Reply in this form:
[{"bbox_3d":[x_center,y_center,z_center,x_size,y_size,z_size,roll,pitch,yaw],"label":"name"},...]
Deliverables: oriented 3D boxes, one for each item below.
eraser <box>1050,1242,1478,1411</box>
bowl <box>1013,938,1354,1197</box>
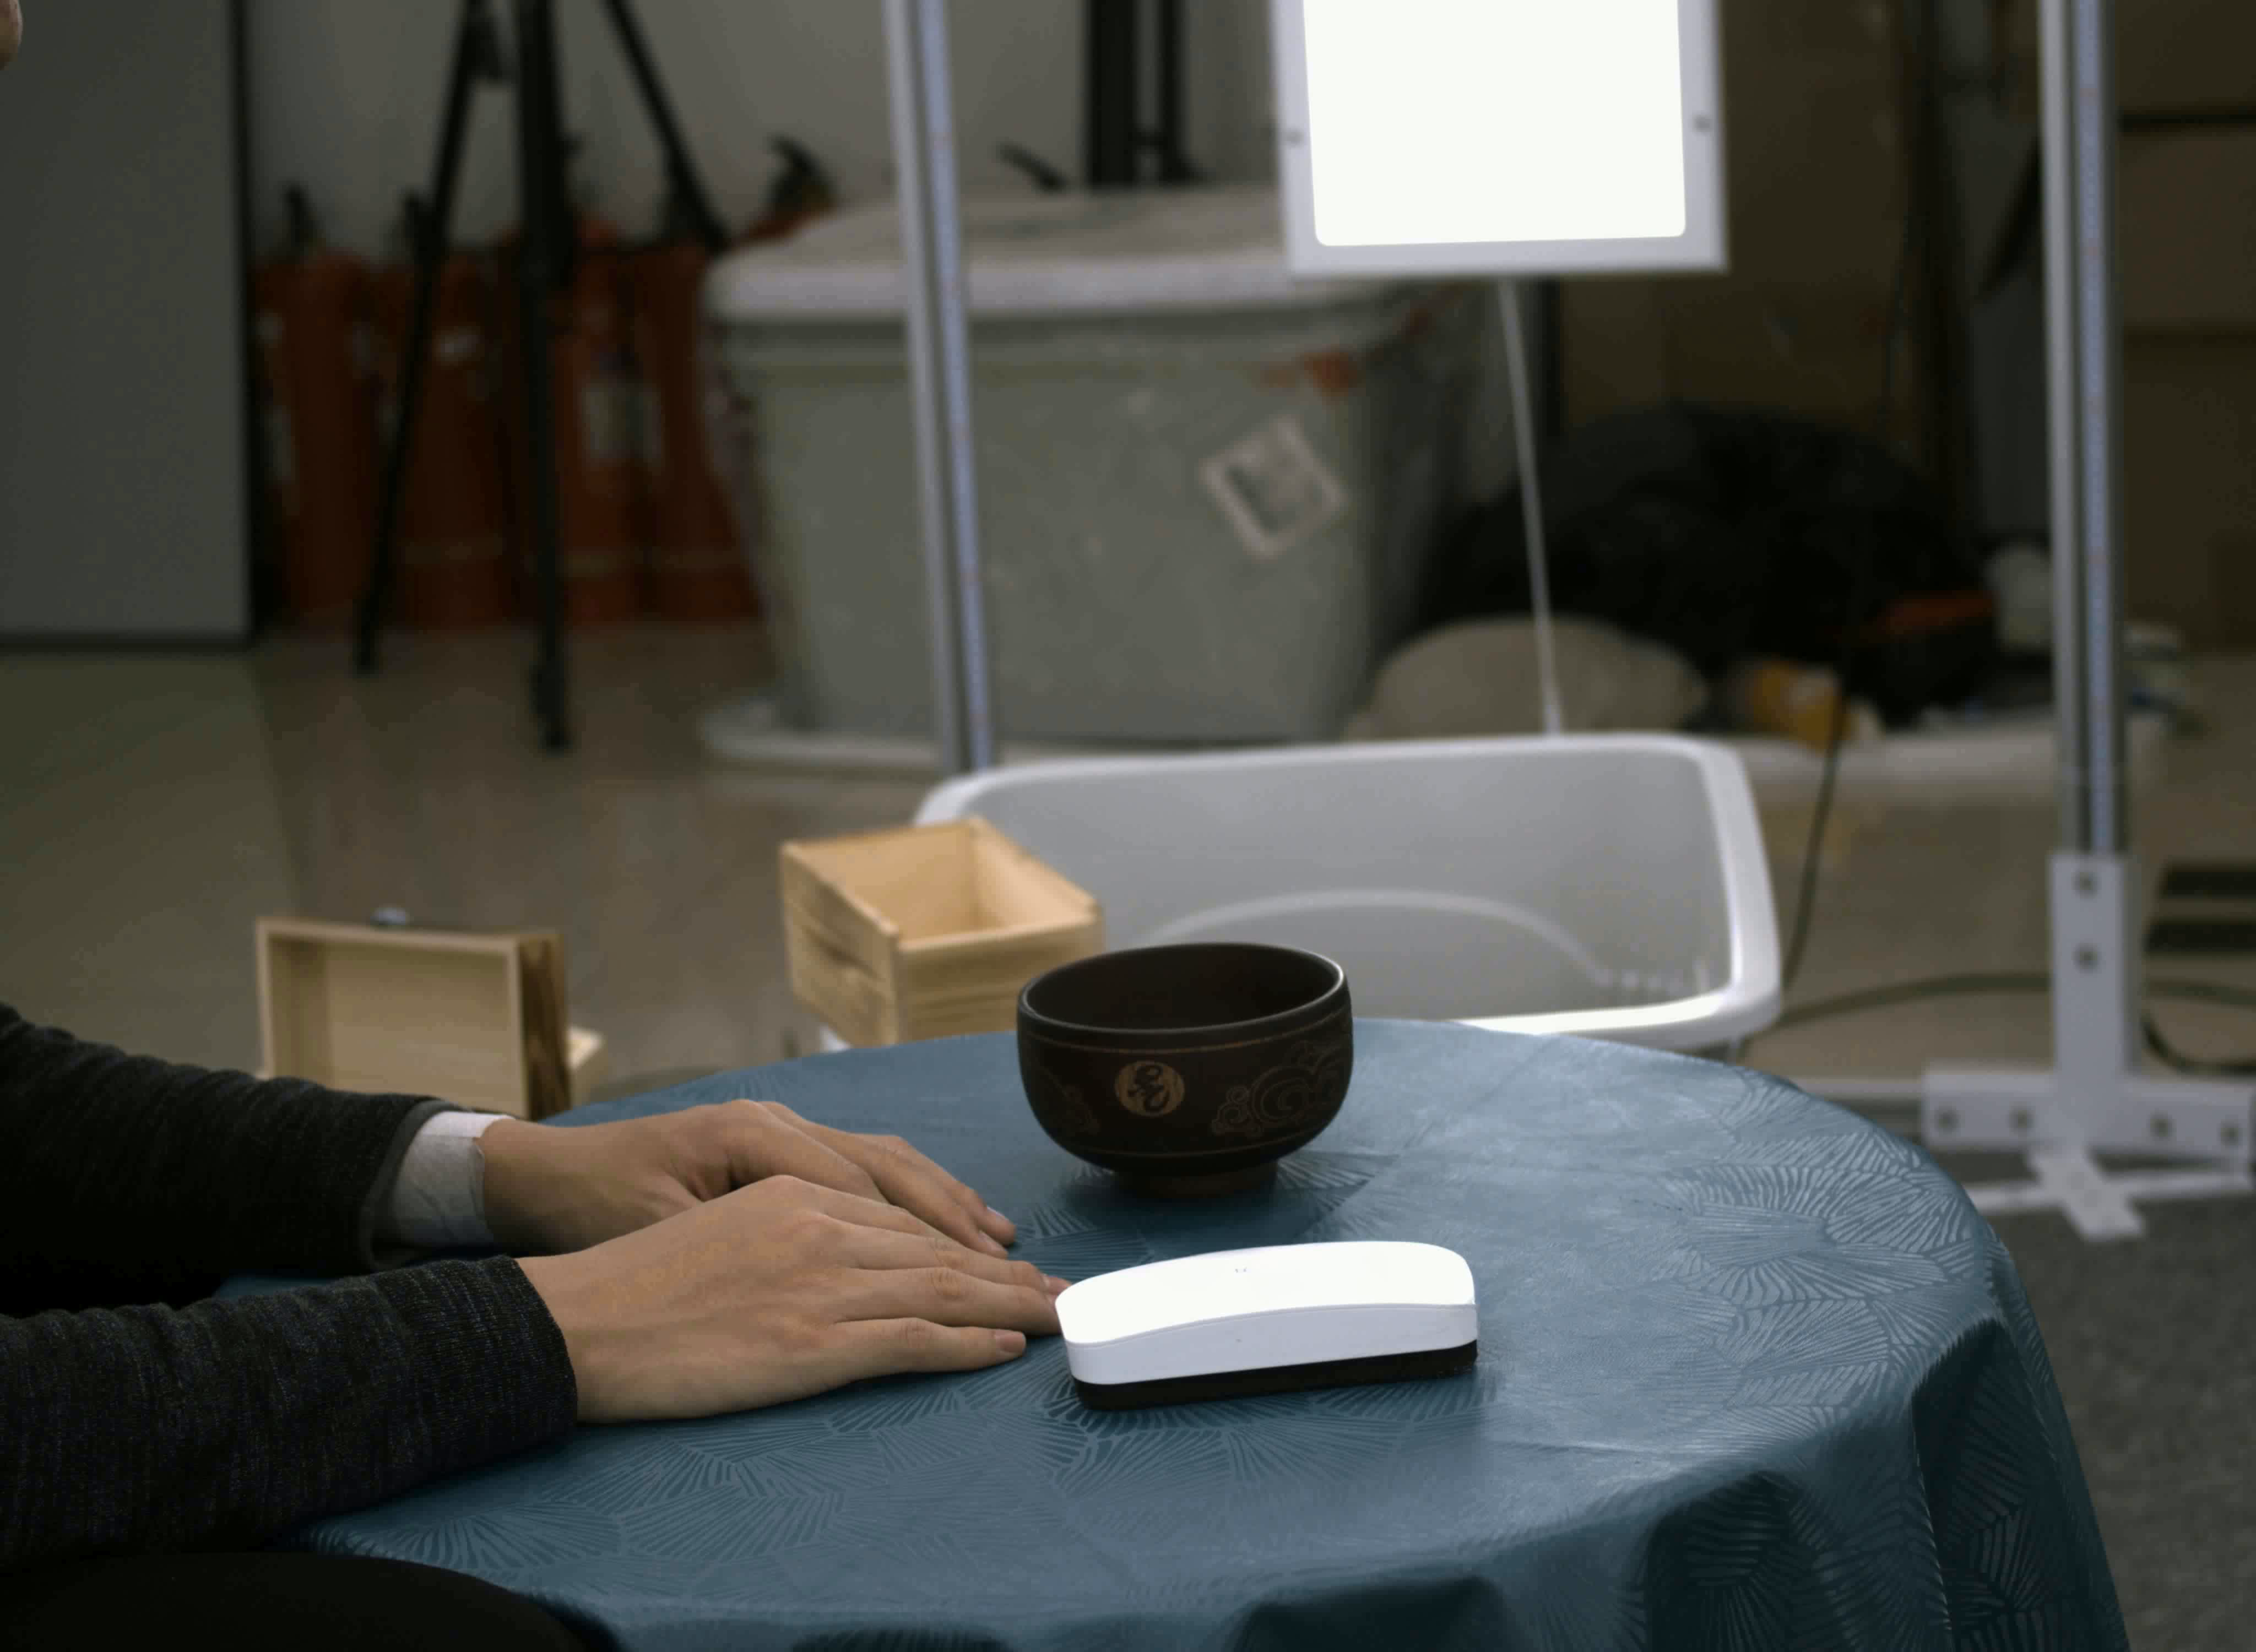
[{"bbox_3d":[0.042,0.153,1.708,0.130,0.034,0.063,-5,13,-2],"label":"eraser"},{"bbox_3d":[0.021,0.087,1.902,0.118,0.070,0.118,-6,14,0],"label":"bowl"}]
